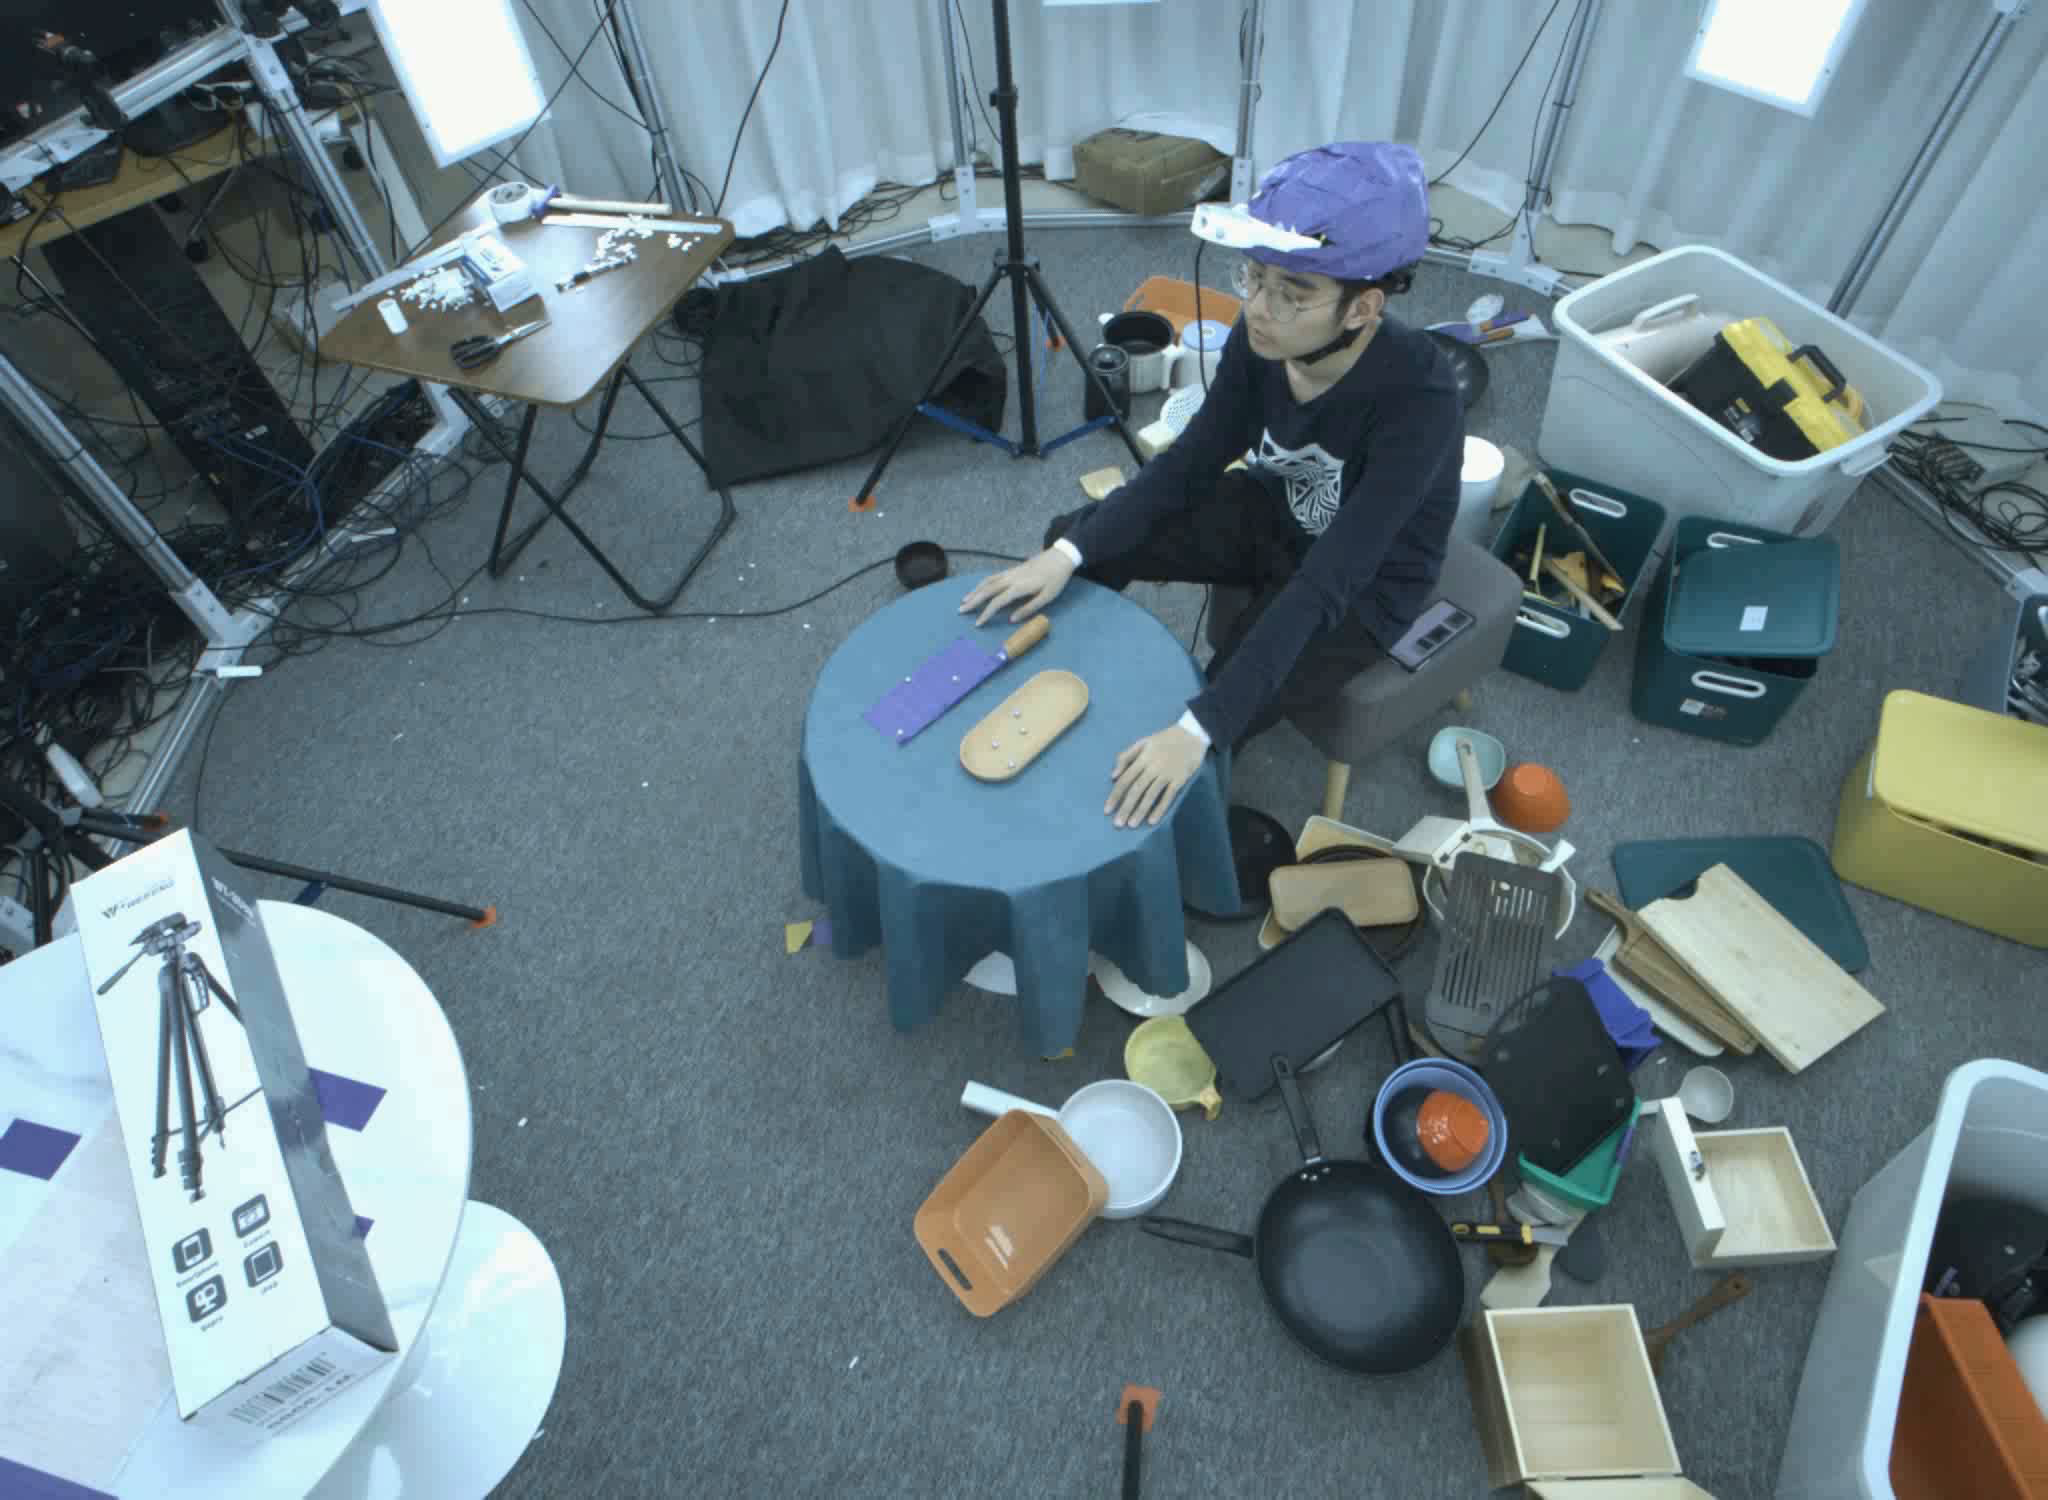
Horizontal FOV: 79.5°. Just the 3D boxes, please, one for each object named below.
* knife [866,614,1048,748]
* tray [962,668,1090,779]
[{"bbox_3d":[-0.103,-0.125,1.870,0.102,0.032,0.317,39,64,25],"label":"knife"},{"bbox_3d":[0.004,-0.041,1.814,0.100,0.020,0.233,35,61,23],"label":"tray"}]
